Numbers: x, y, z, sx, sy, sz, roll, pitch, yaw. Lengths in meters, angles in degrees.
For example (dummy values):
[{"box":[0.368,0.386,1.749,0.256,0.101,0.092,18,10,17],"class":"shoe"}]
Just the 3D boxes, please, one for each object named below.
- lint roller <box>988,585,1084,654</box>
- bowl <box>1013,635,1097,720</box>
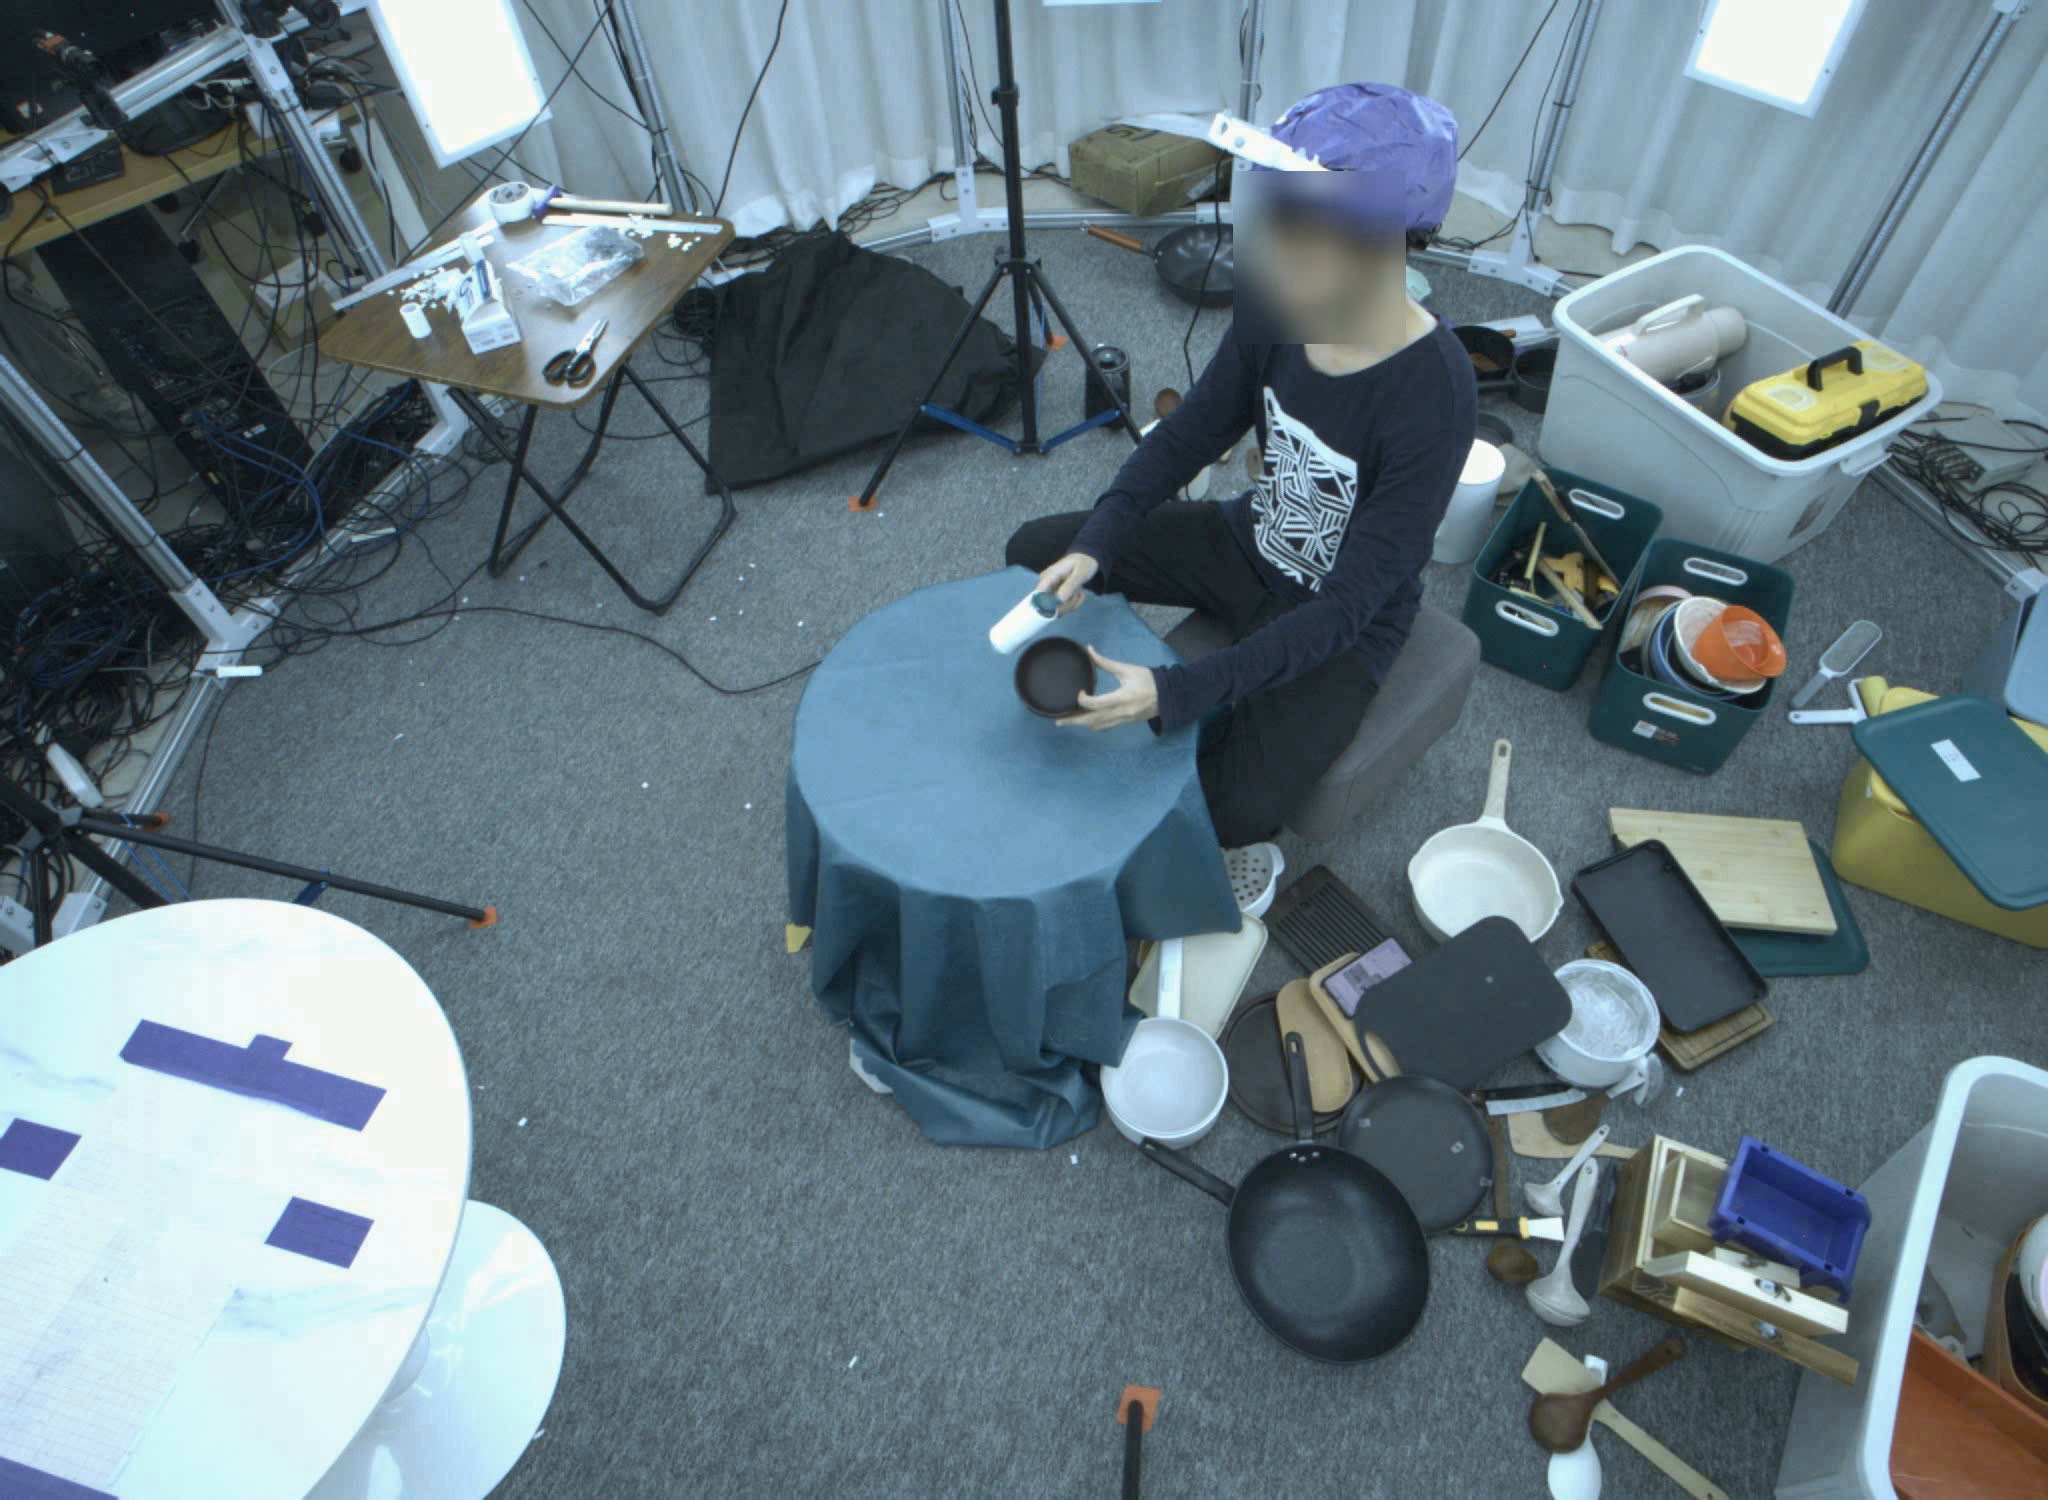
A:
[{"box":[0.029,-0.213,1.778,0.048,0.133,0.181,48,44,-5],"class":"lint roller"},{"box":[0.044,-0.098,1.744,0.118,0.070,0.117,0,82,2],"class":"bowl"}]
